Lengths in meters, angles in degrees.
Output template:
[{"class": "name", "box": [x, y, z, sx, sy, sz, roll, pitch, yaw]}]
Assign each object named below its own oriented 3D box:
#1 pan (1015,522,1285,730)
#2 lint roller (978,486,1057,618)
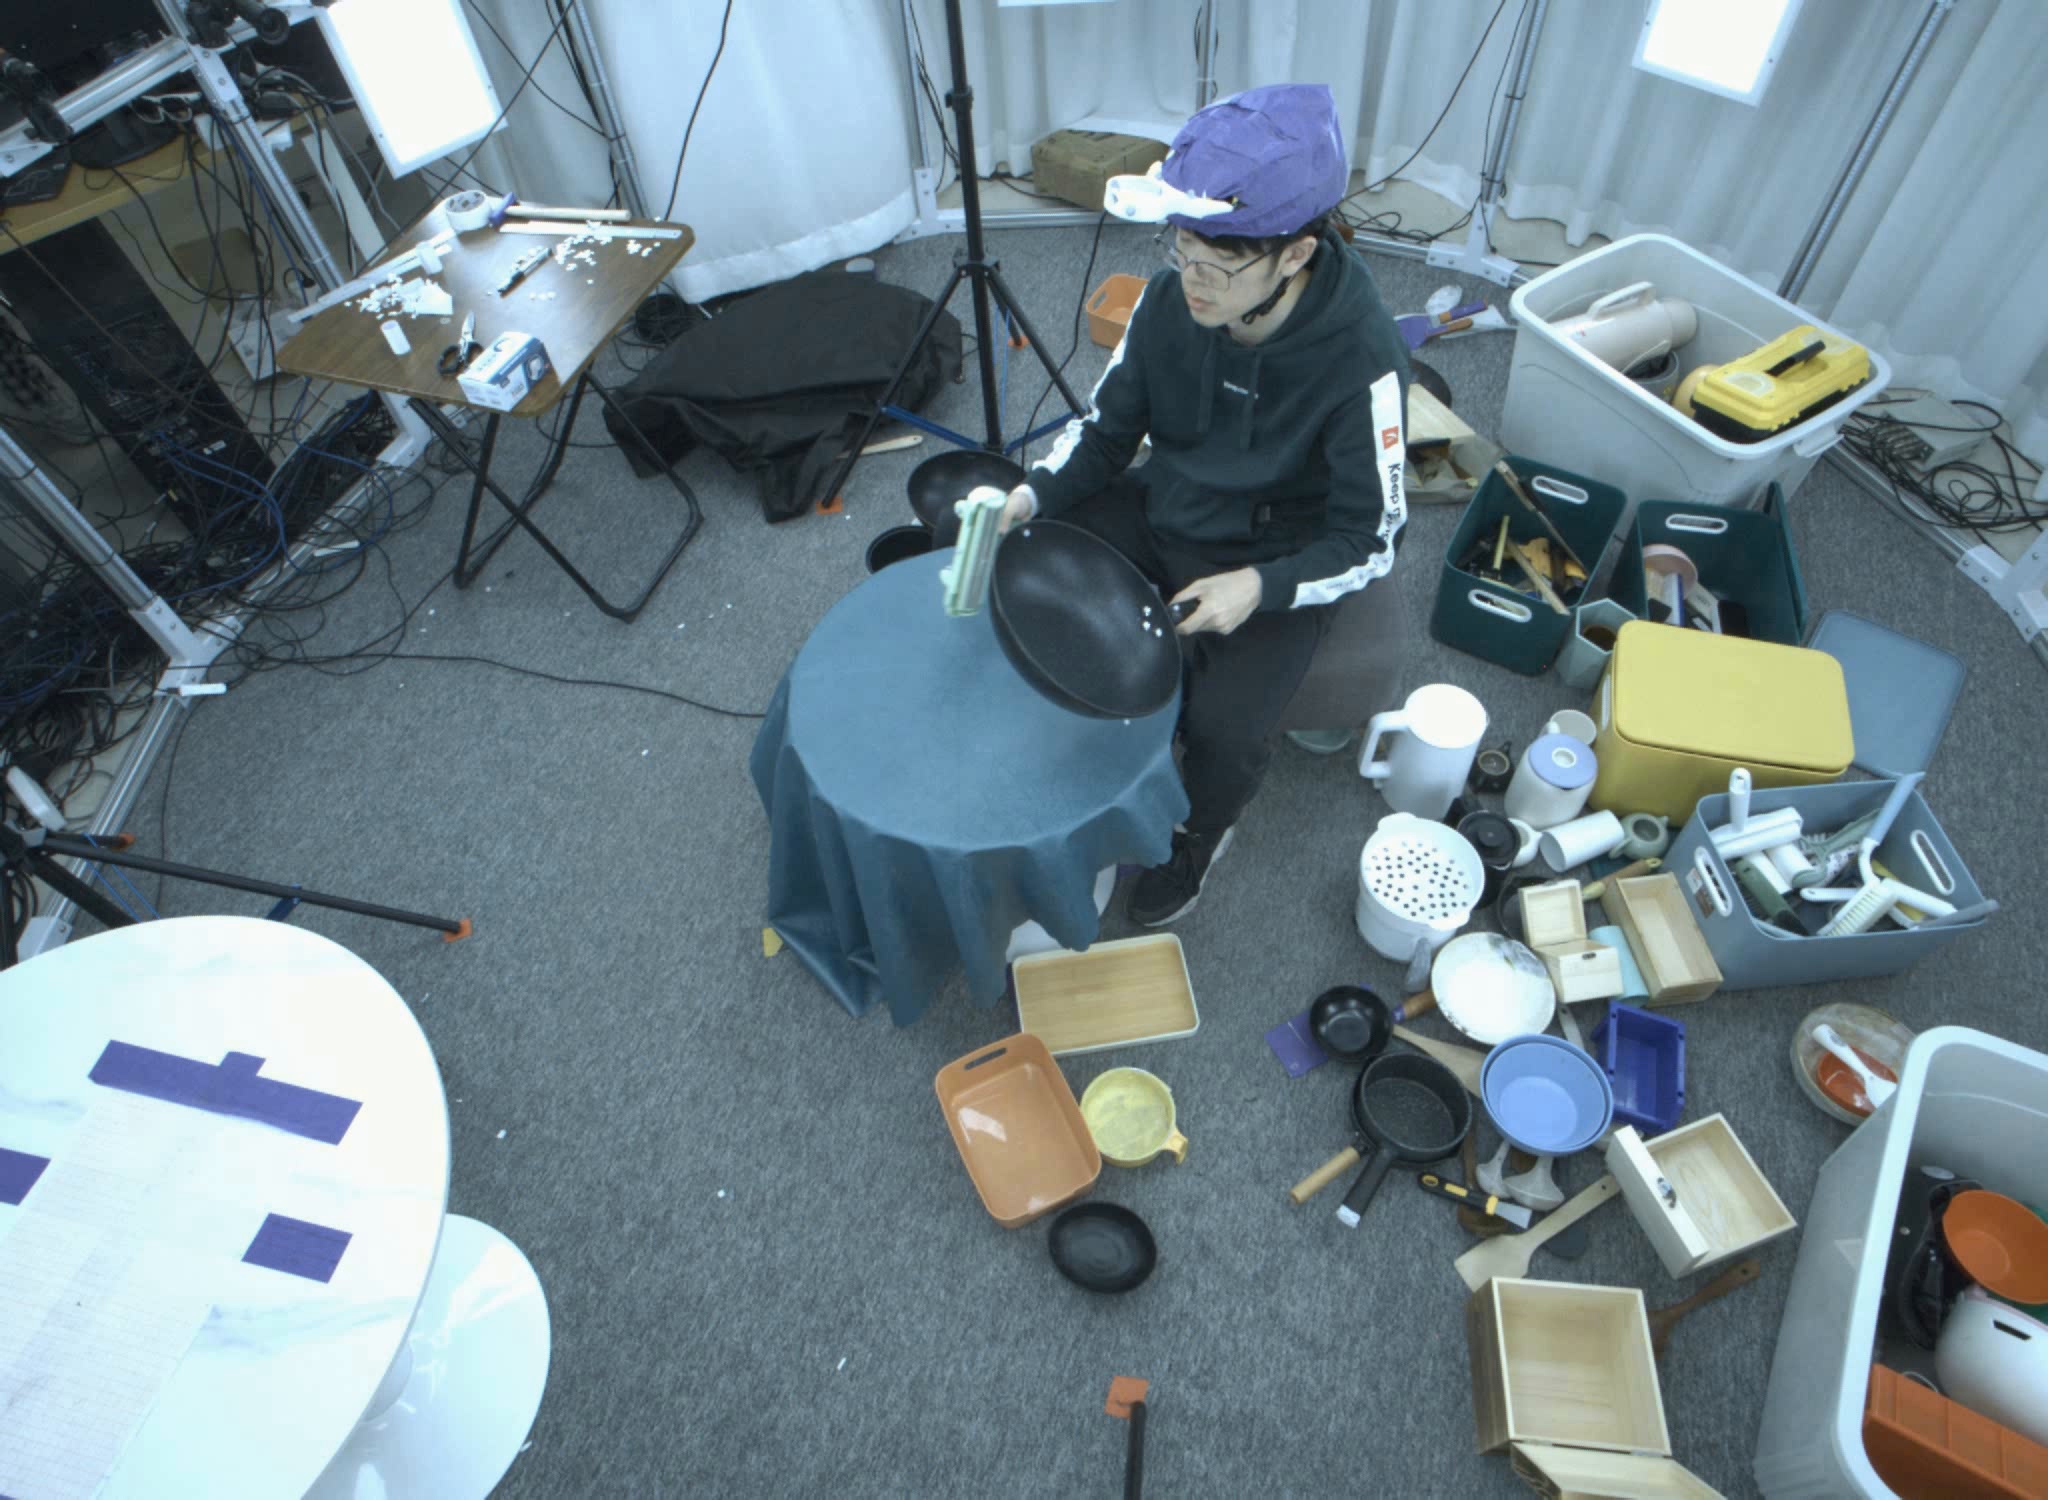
[{"class": "pan", "box": [0.171, -0.162, 1.676, 0.486, 0.110, 0.307, -7, 70, -42]}, {"class": "lint roller", "box": [-0.009, -0.318, 1.833, 0.082, 0.199, 0.183, 17, 35, 6]}]
